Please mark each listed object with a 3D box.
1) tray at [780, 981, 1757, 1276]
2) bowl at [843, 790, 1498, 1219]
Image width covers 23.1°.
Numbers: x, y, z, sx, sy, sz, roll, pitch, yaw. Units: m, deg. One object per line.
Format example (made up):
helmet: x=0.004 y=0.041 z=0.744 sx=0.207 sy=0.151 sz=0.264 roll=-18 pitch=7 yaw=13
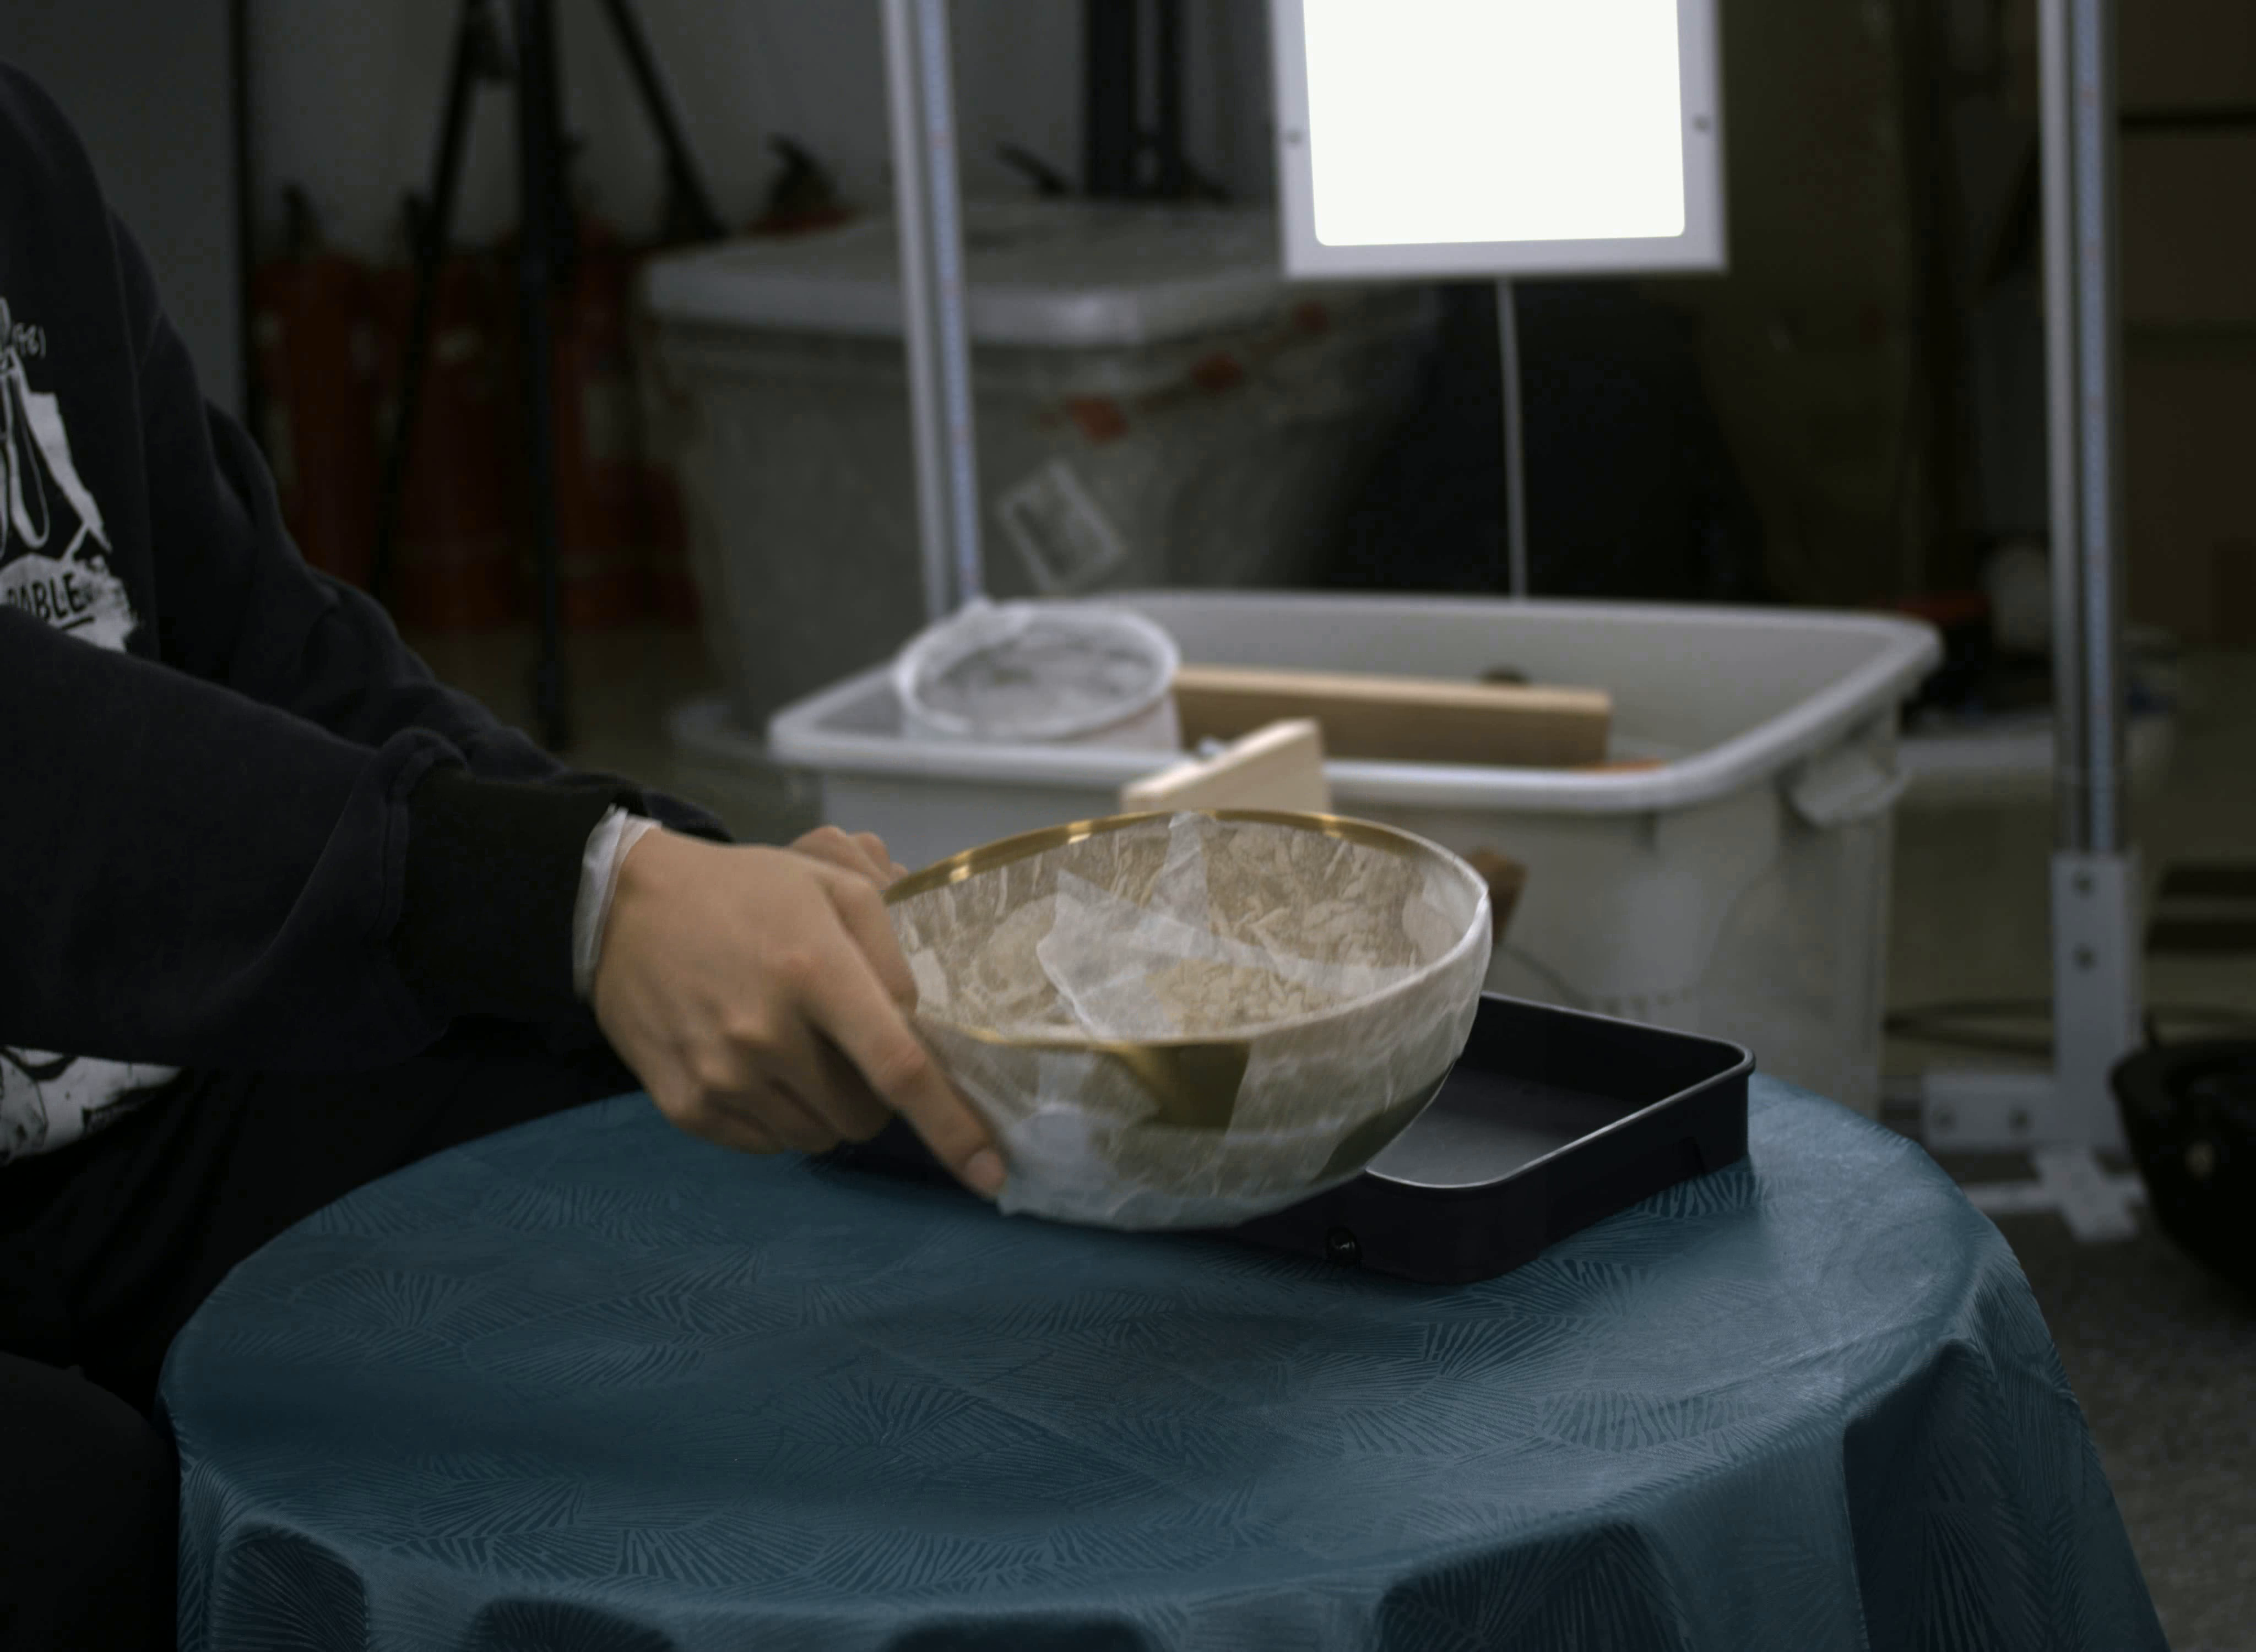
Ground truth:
tray: x=0.047 y=0.089 z=1.921 sx=0.325 sy=0.037 sz=0.179 roll=10 pitch=21 yaw=41
bowl: x=0.014 y=0.065 z=1.722 sx=0.214 sy=0.095 sz=0.214 roll=-6 pitch=20 yaw=1
